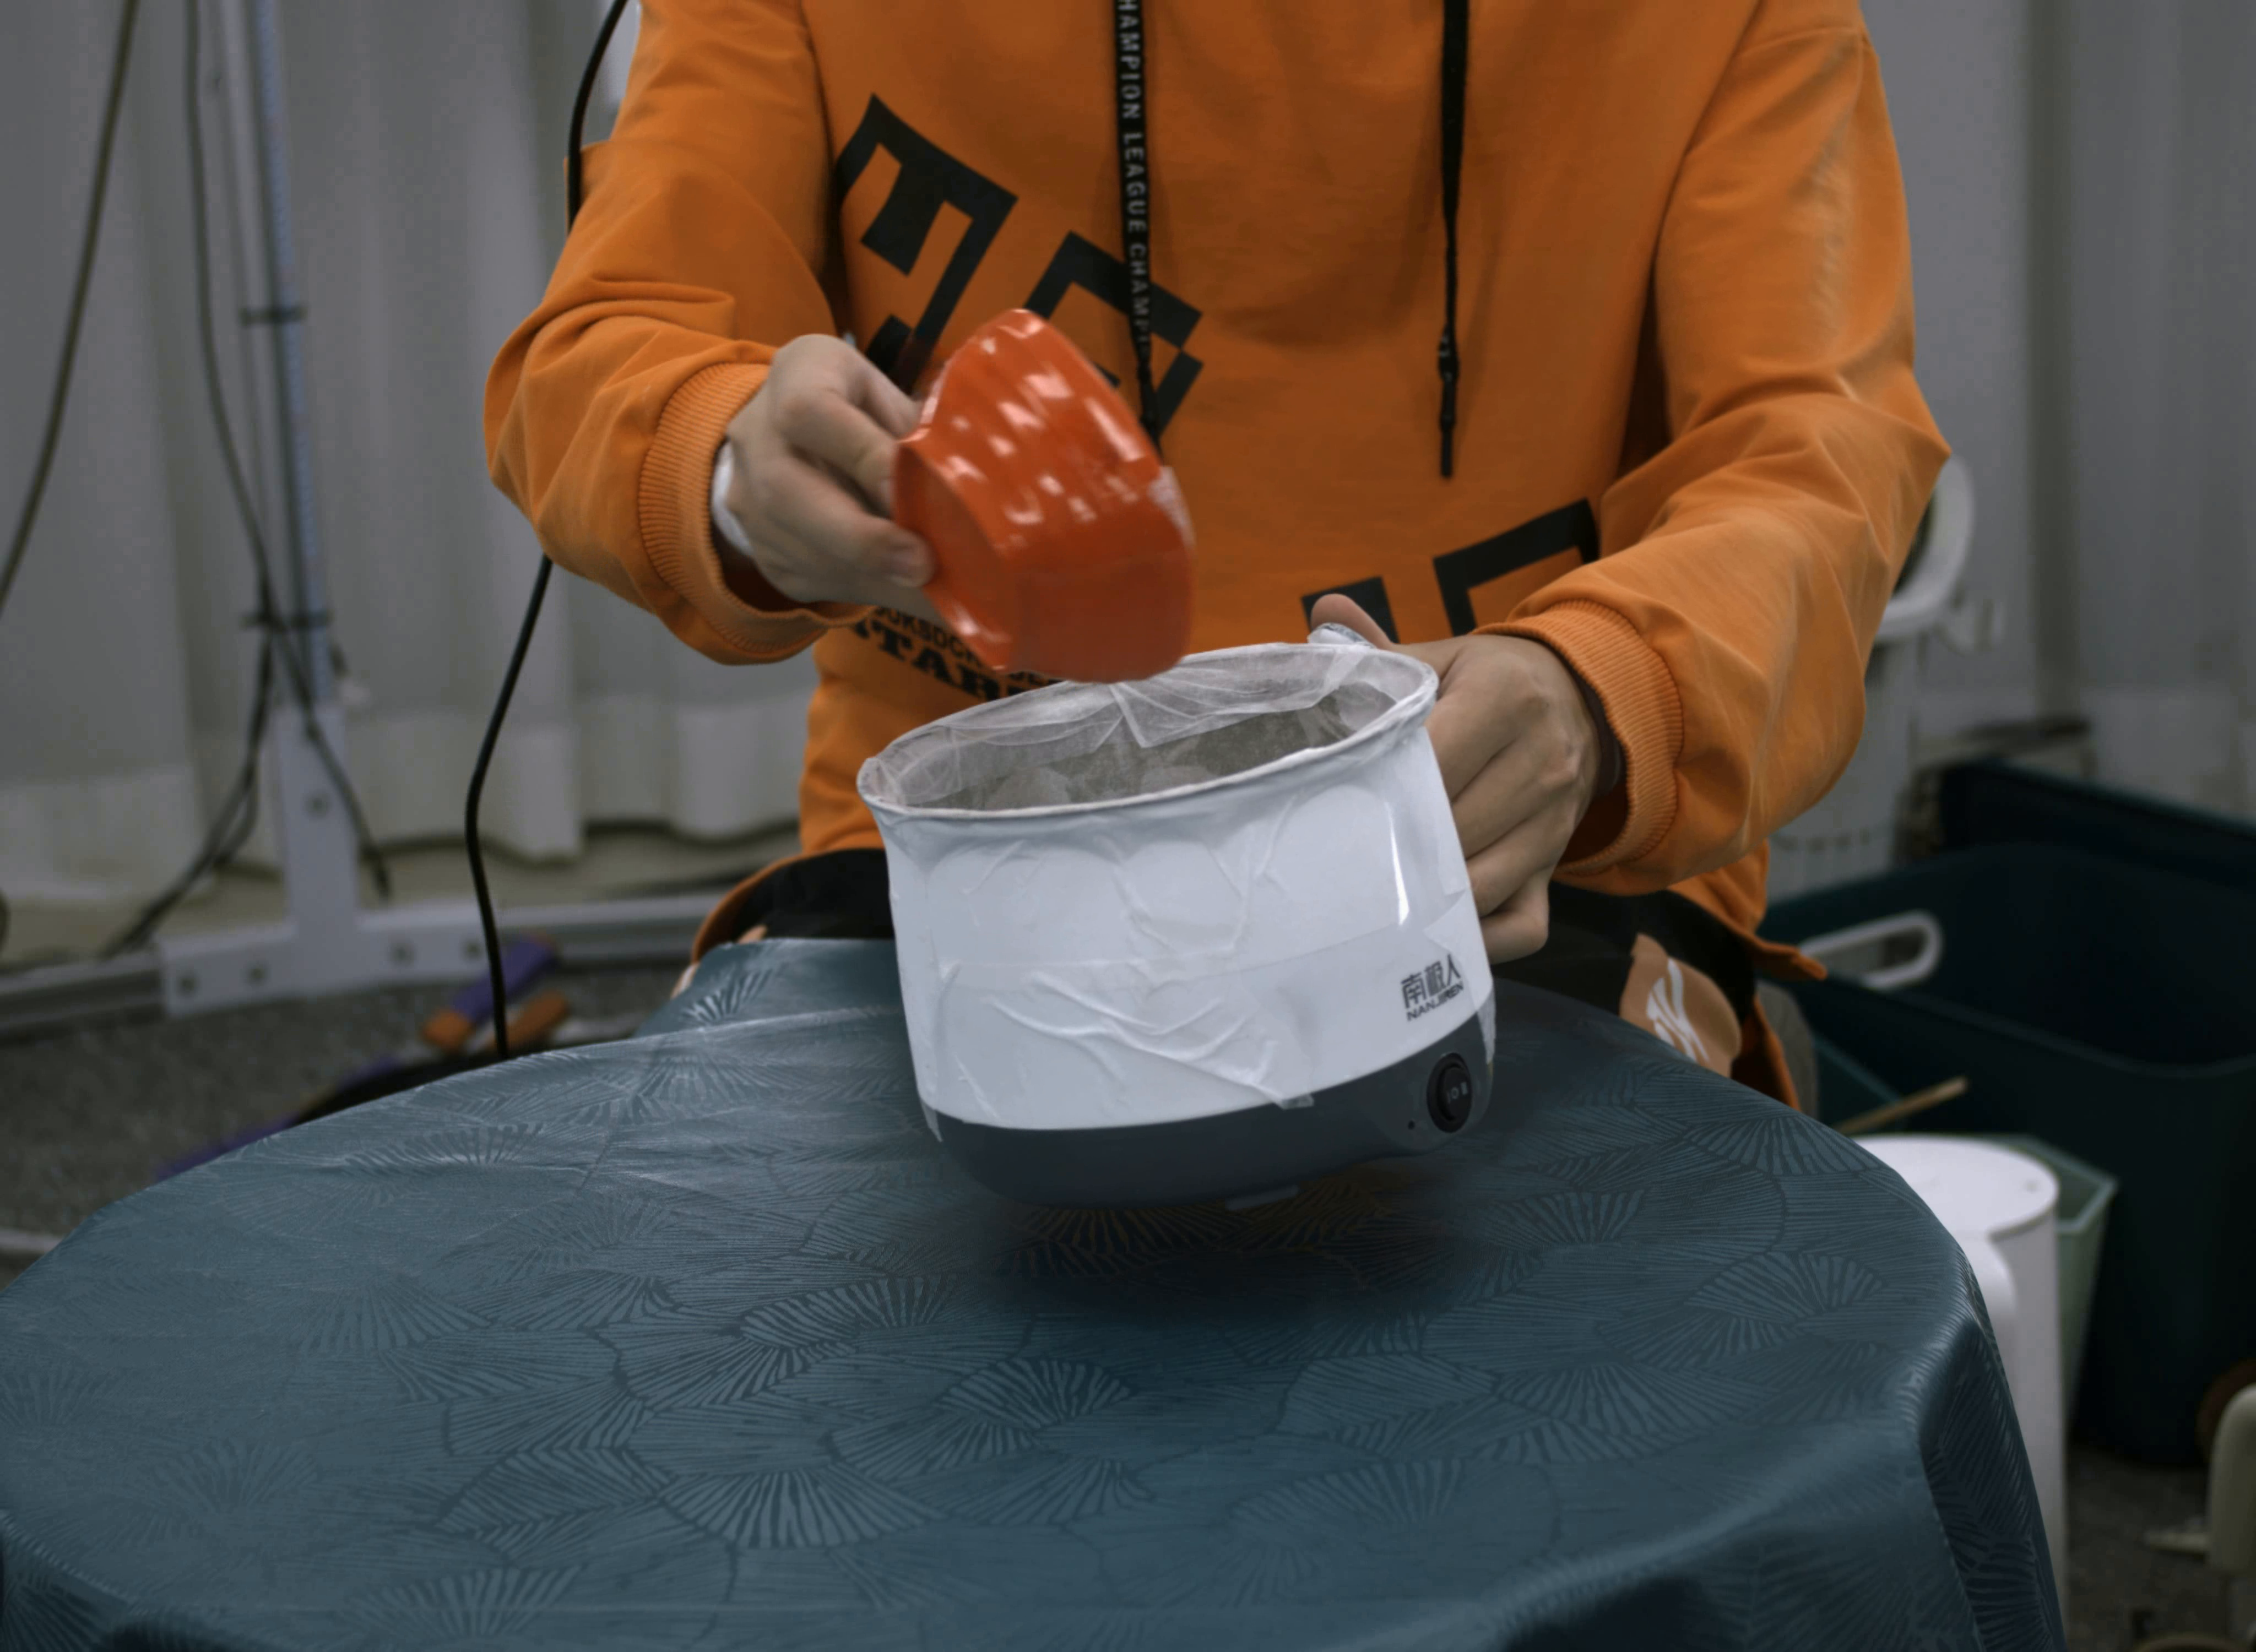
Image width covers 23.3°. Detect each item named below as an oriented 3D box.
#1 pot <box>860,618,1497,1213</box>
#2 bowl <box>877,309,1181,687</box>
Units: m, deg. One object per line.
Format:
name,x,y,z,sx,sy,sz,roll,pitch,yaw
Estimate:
pot,0.033,0.022,1.666,0.179,0.136,0.234,0,17,36
bowl,-0.035,-0.088,1.618,0.051,0.118,0.120,-28,23,-20
